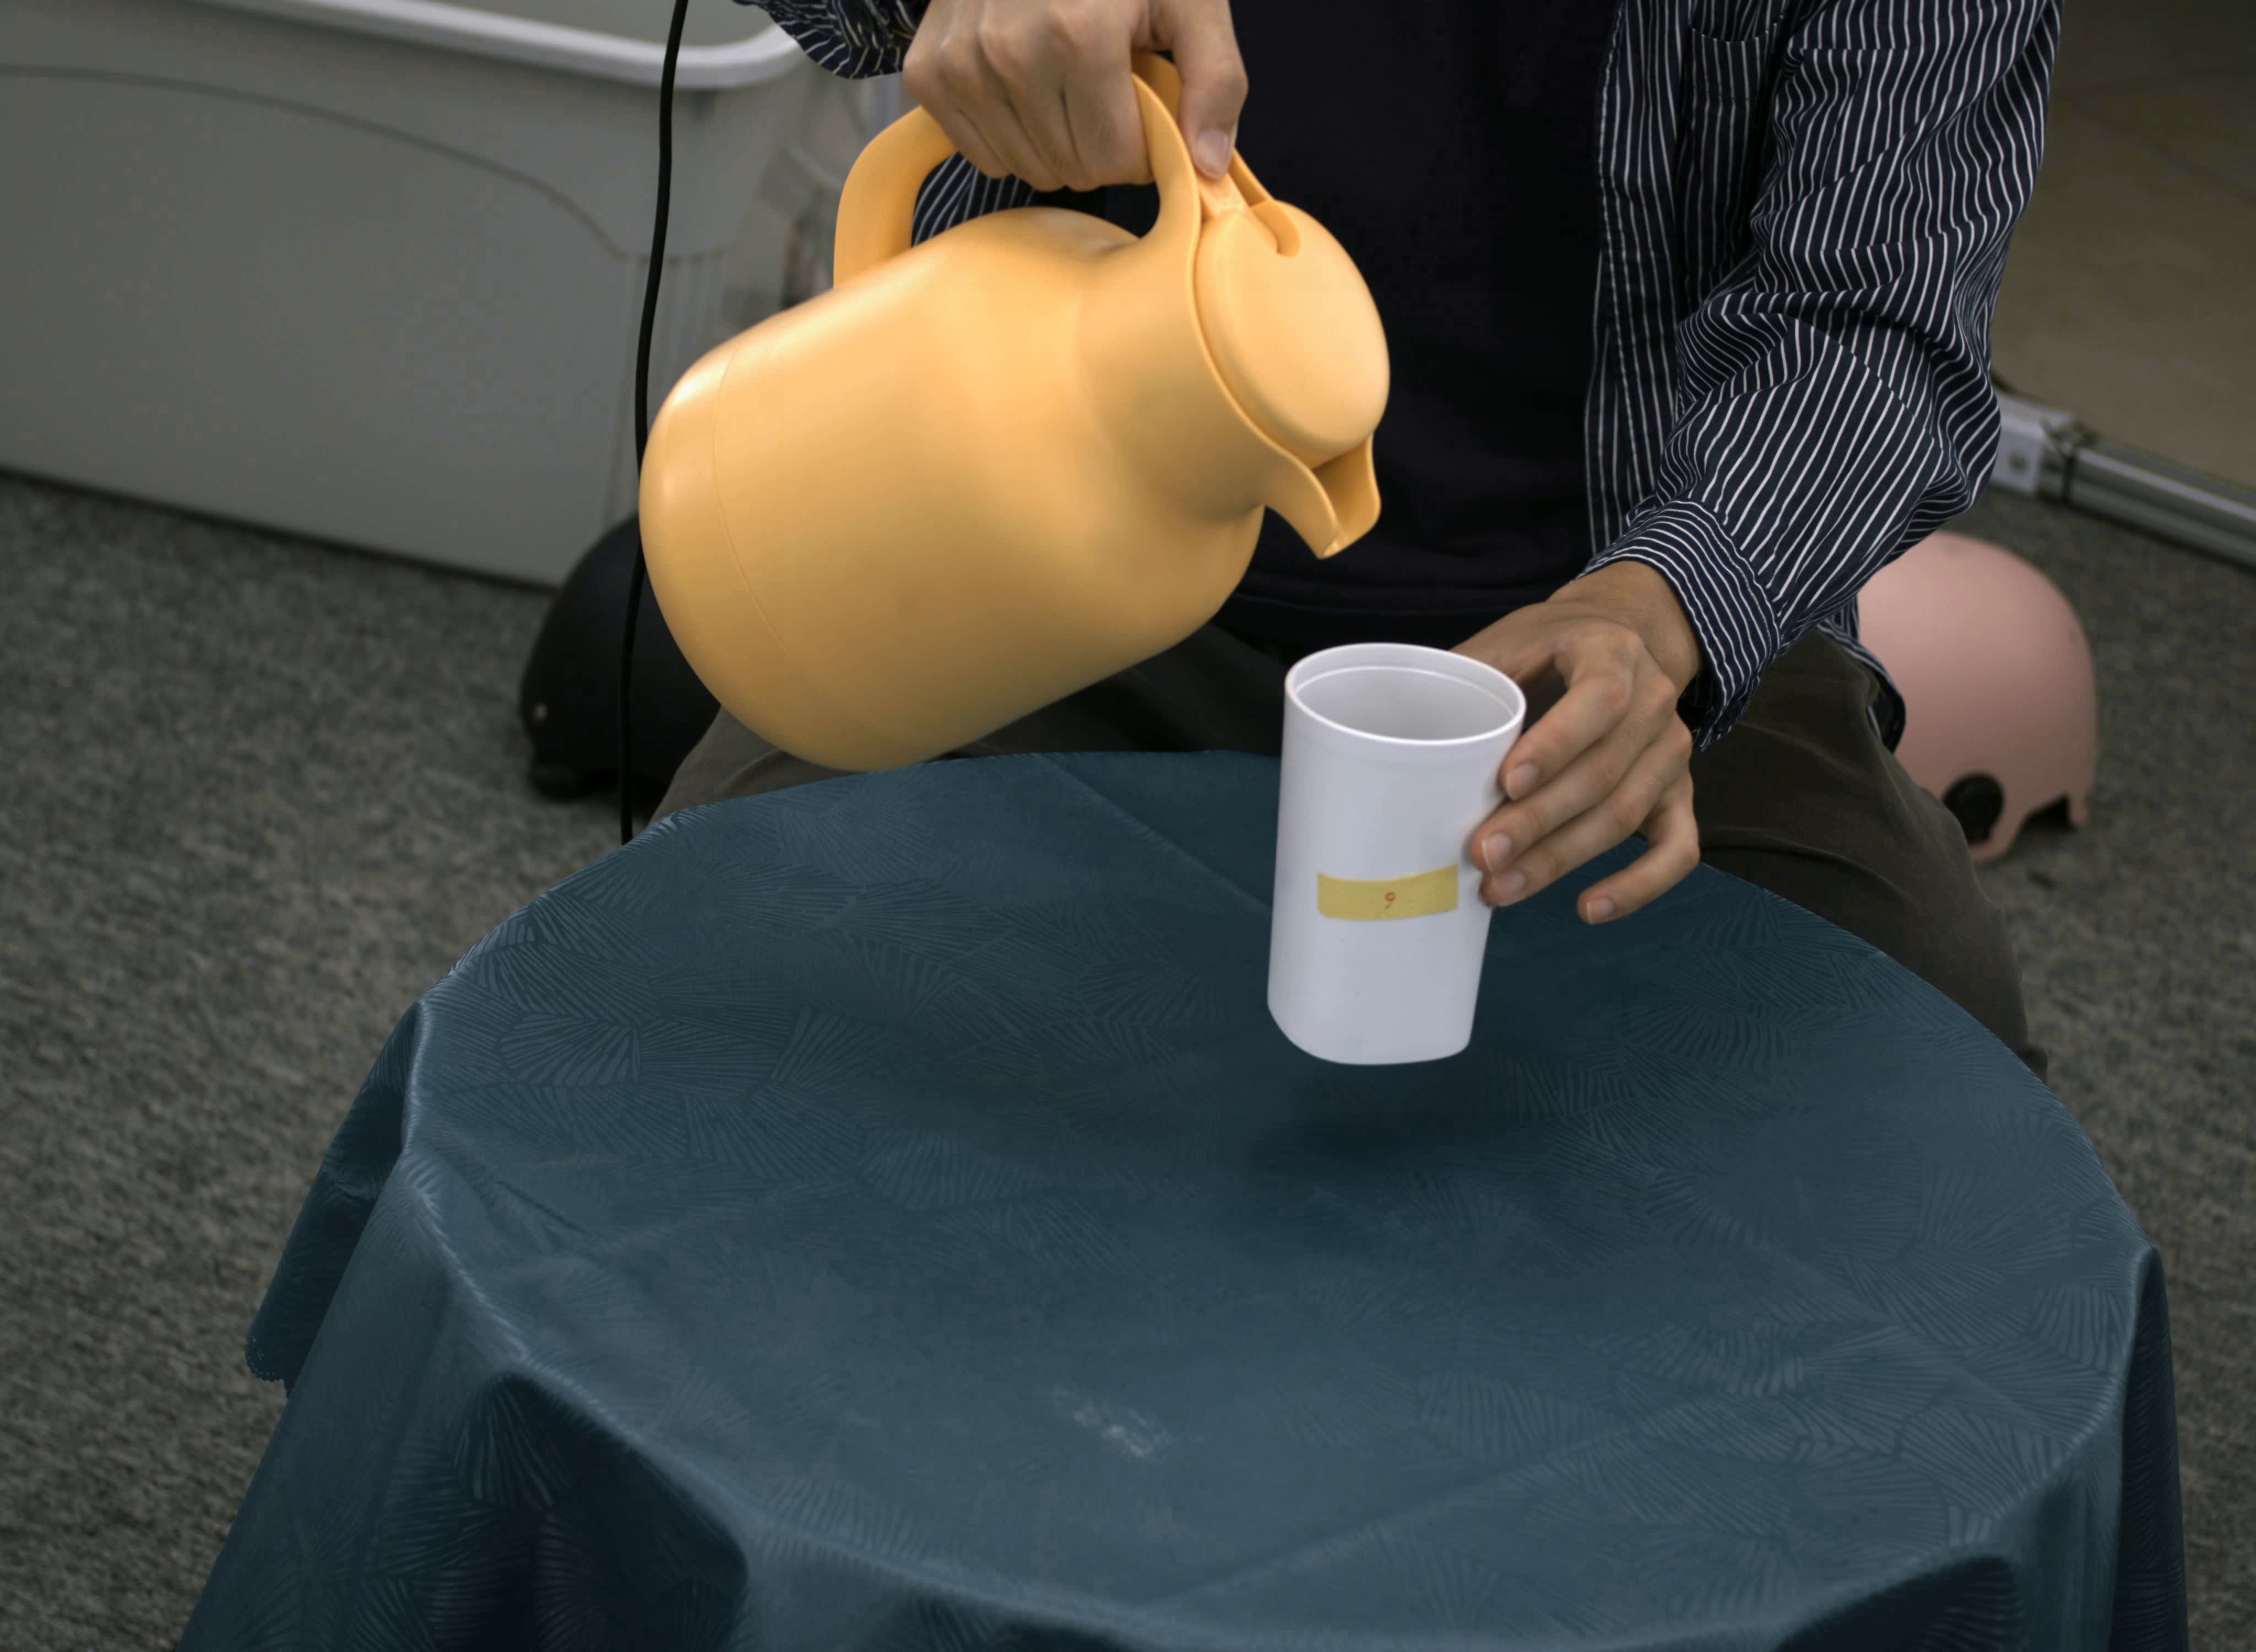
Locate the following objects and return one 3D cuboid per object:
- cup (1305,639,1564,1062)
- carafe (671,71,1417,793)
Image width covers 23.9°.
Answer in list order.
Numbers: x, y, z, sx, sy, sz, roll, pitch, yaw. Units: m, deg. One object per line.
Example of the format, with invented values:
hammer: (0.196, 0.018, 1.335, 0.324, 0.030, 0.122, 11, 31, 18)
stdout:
cup: (0.101, 0.010, 1.798, 0.081, 0.125, 0.082, 4, 23, -2)
carafe: (-0.030, -0.137, 1.822, 0.261, 0.203, 0.163, -22, 0, 36)
